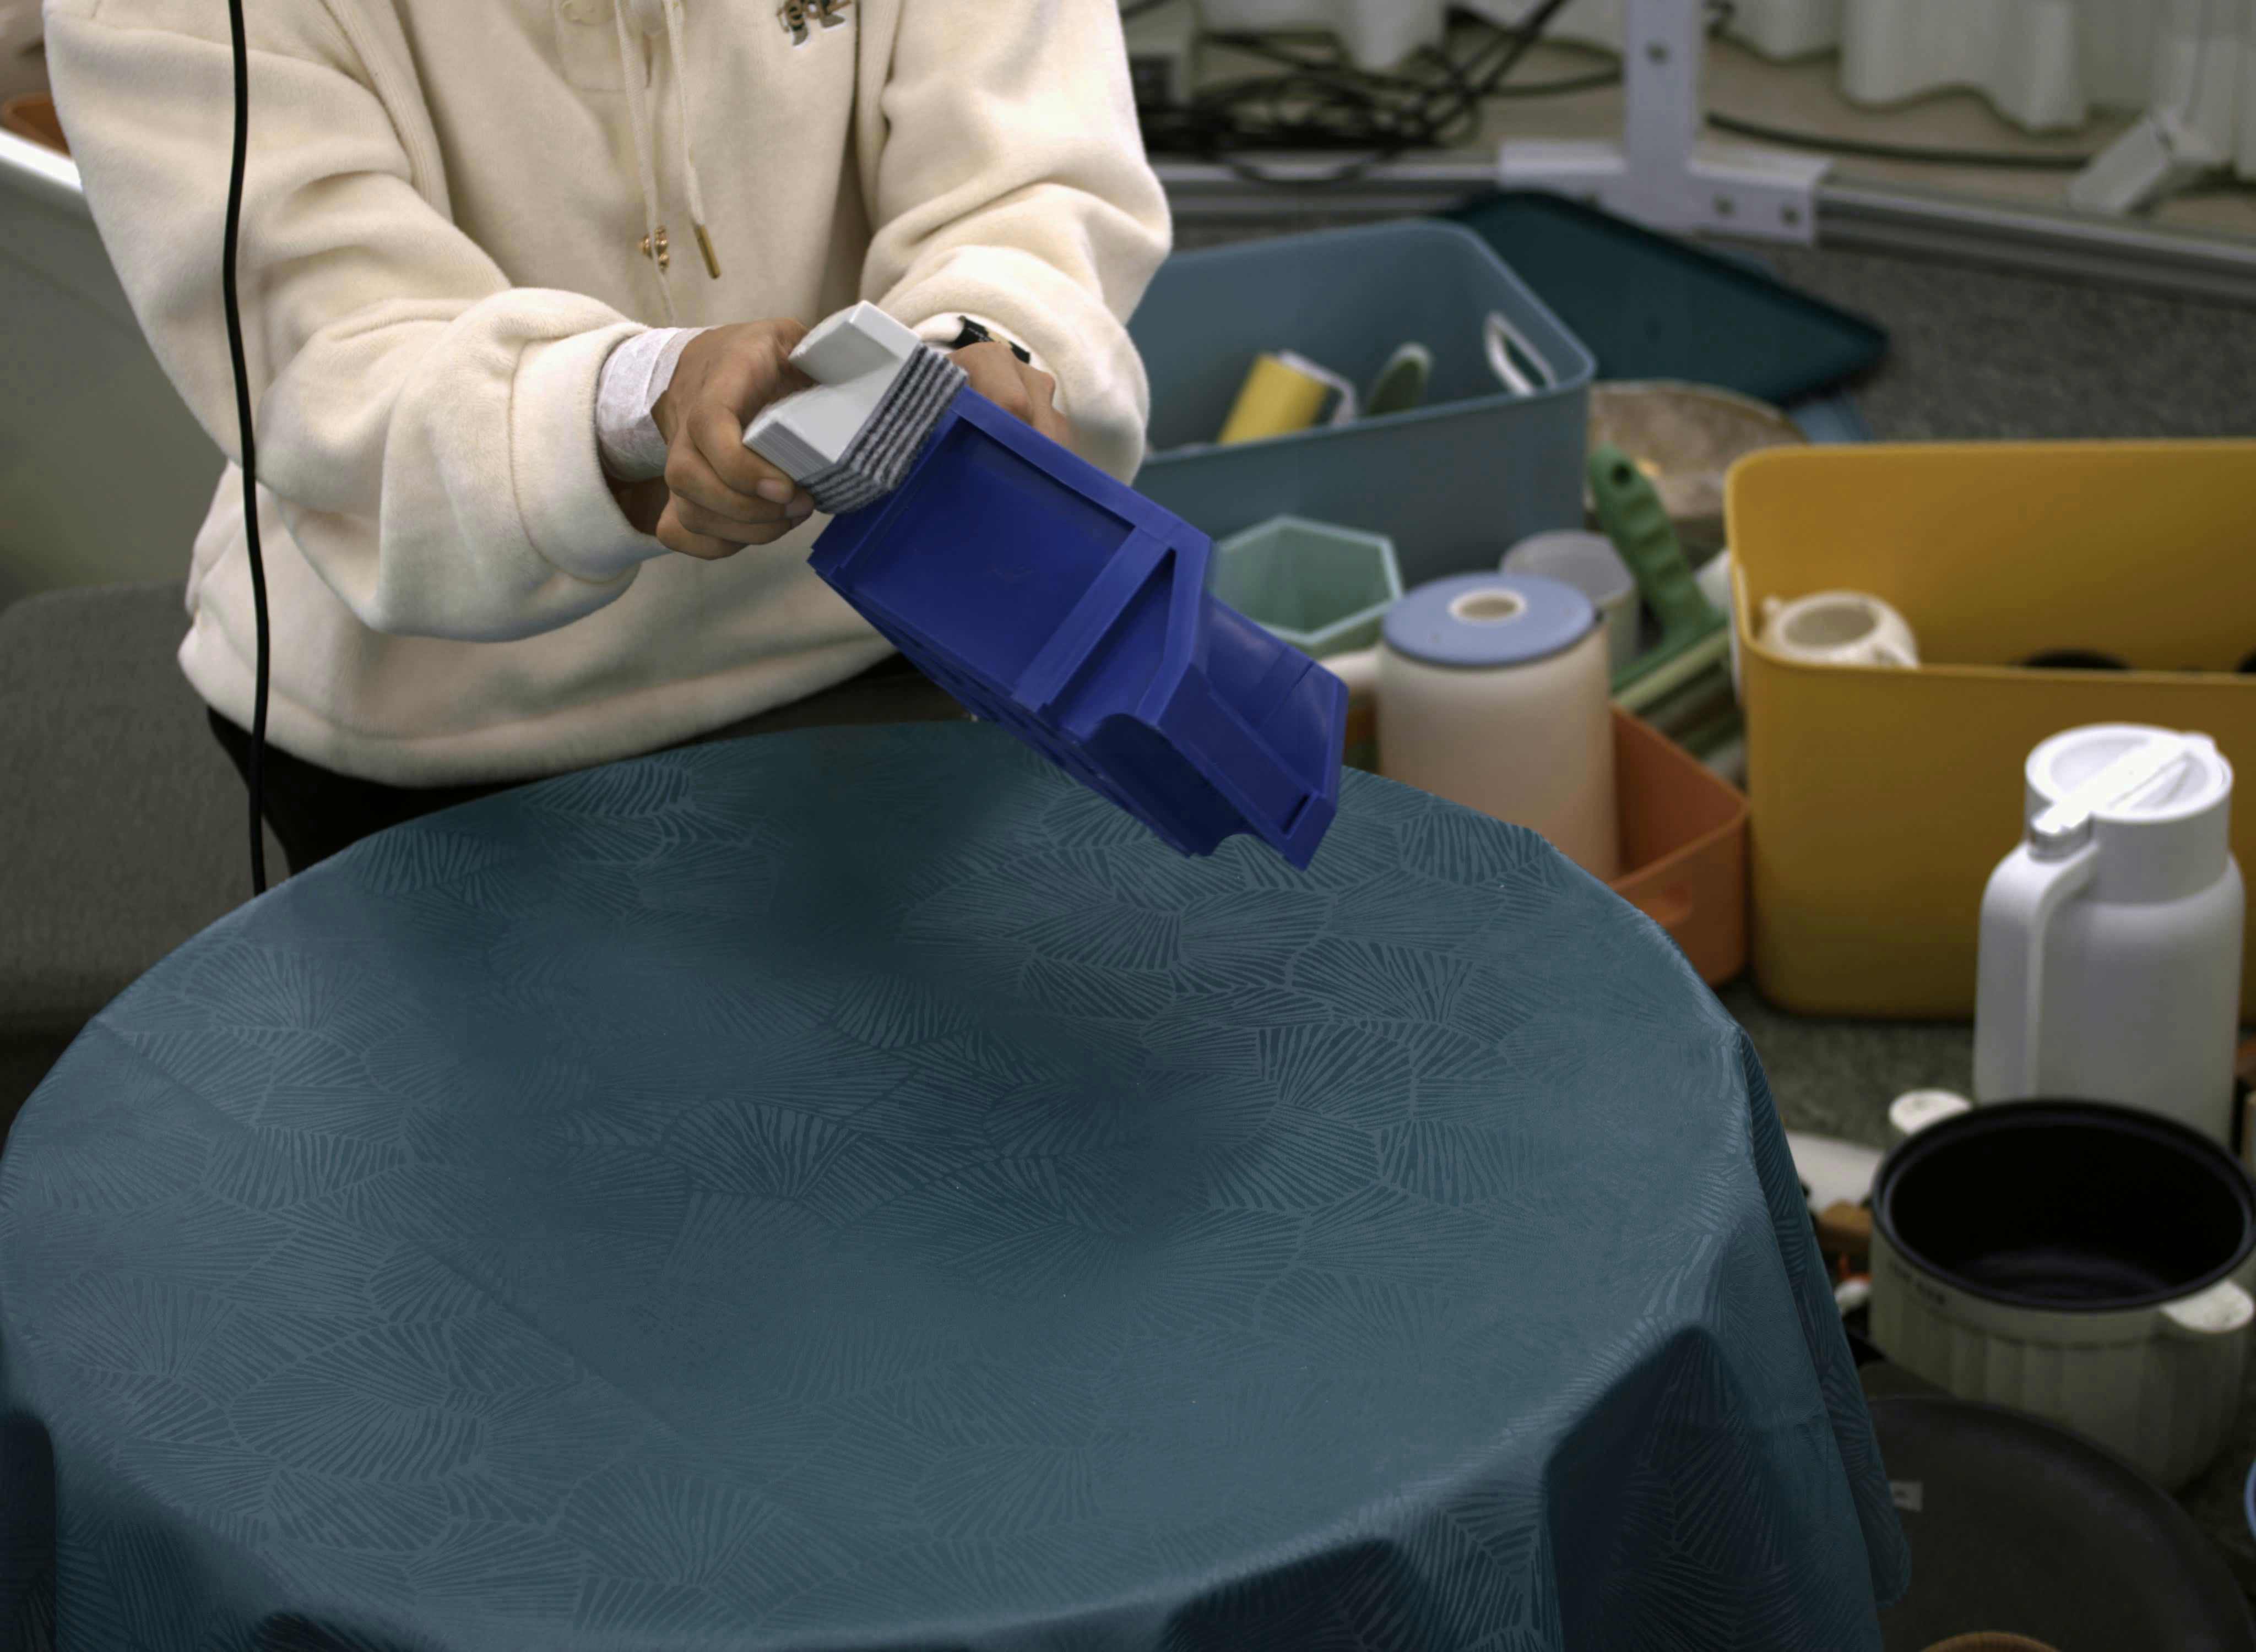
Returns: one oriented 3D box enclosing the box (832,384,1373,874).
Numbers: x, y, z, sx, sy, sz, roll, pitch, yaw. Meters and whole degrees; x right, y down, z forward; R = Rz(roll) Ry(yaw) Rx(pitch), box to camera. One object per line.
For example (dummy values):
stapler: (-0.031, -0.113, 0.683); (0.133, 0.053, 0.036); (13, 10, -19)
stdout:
box: (-0.004, -0.062, 1.899); (0.179, 0.123, 0.082); (31, 82, 38)

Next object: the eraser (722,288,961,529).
eraser: (-0.094, -0.135, 1.844); (0.046, 0.050, 0.133); (33, -10, -10)
